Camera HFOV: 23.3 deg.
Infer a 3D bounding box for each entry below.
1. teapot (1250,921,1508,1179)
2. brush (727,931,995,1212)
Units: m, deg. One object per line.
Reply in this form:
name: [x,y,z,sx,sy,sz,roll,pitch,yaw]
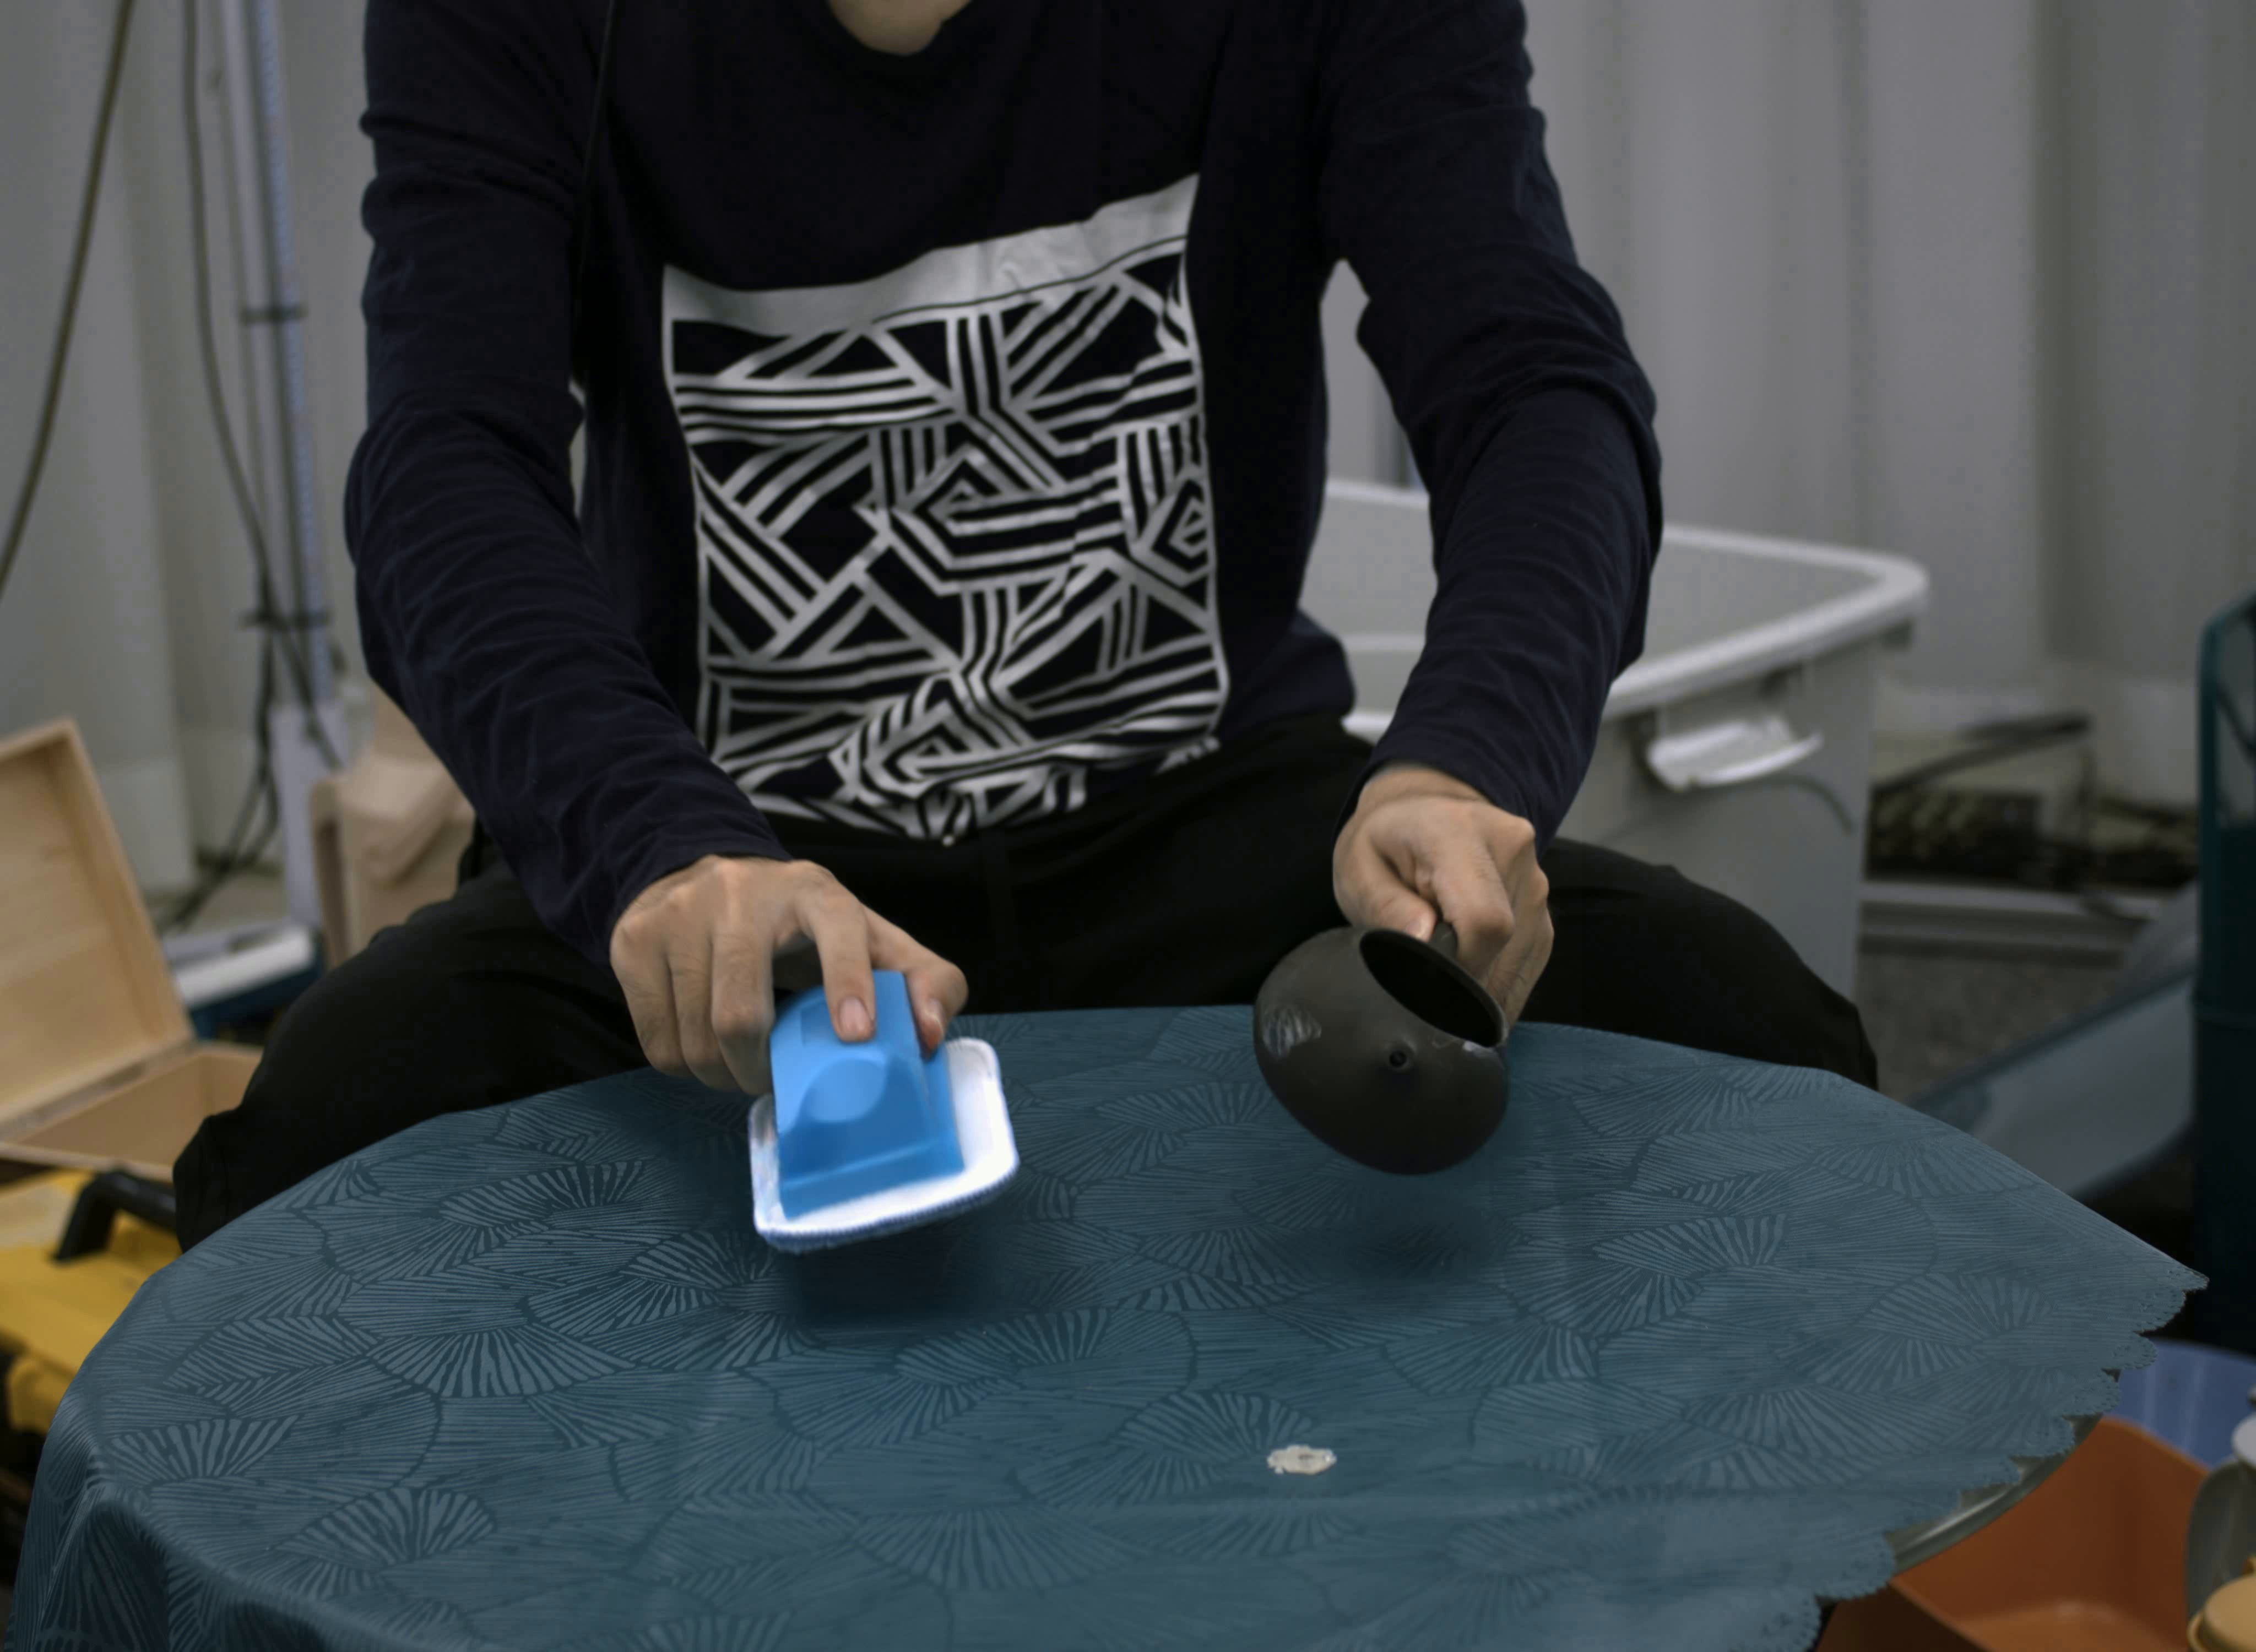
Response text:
teapot: [0.080,0.061,1.649,0.083,0.052,0.115,40,27,0]
brush: [-0.084,0.072,1.666,0.083,0.055,0.145,-12,18,1]
